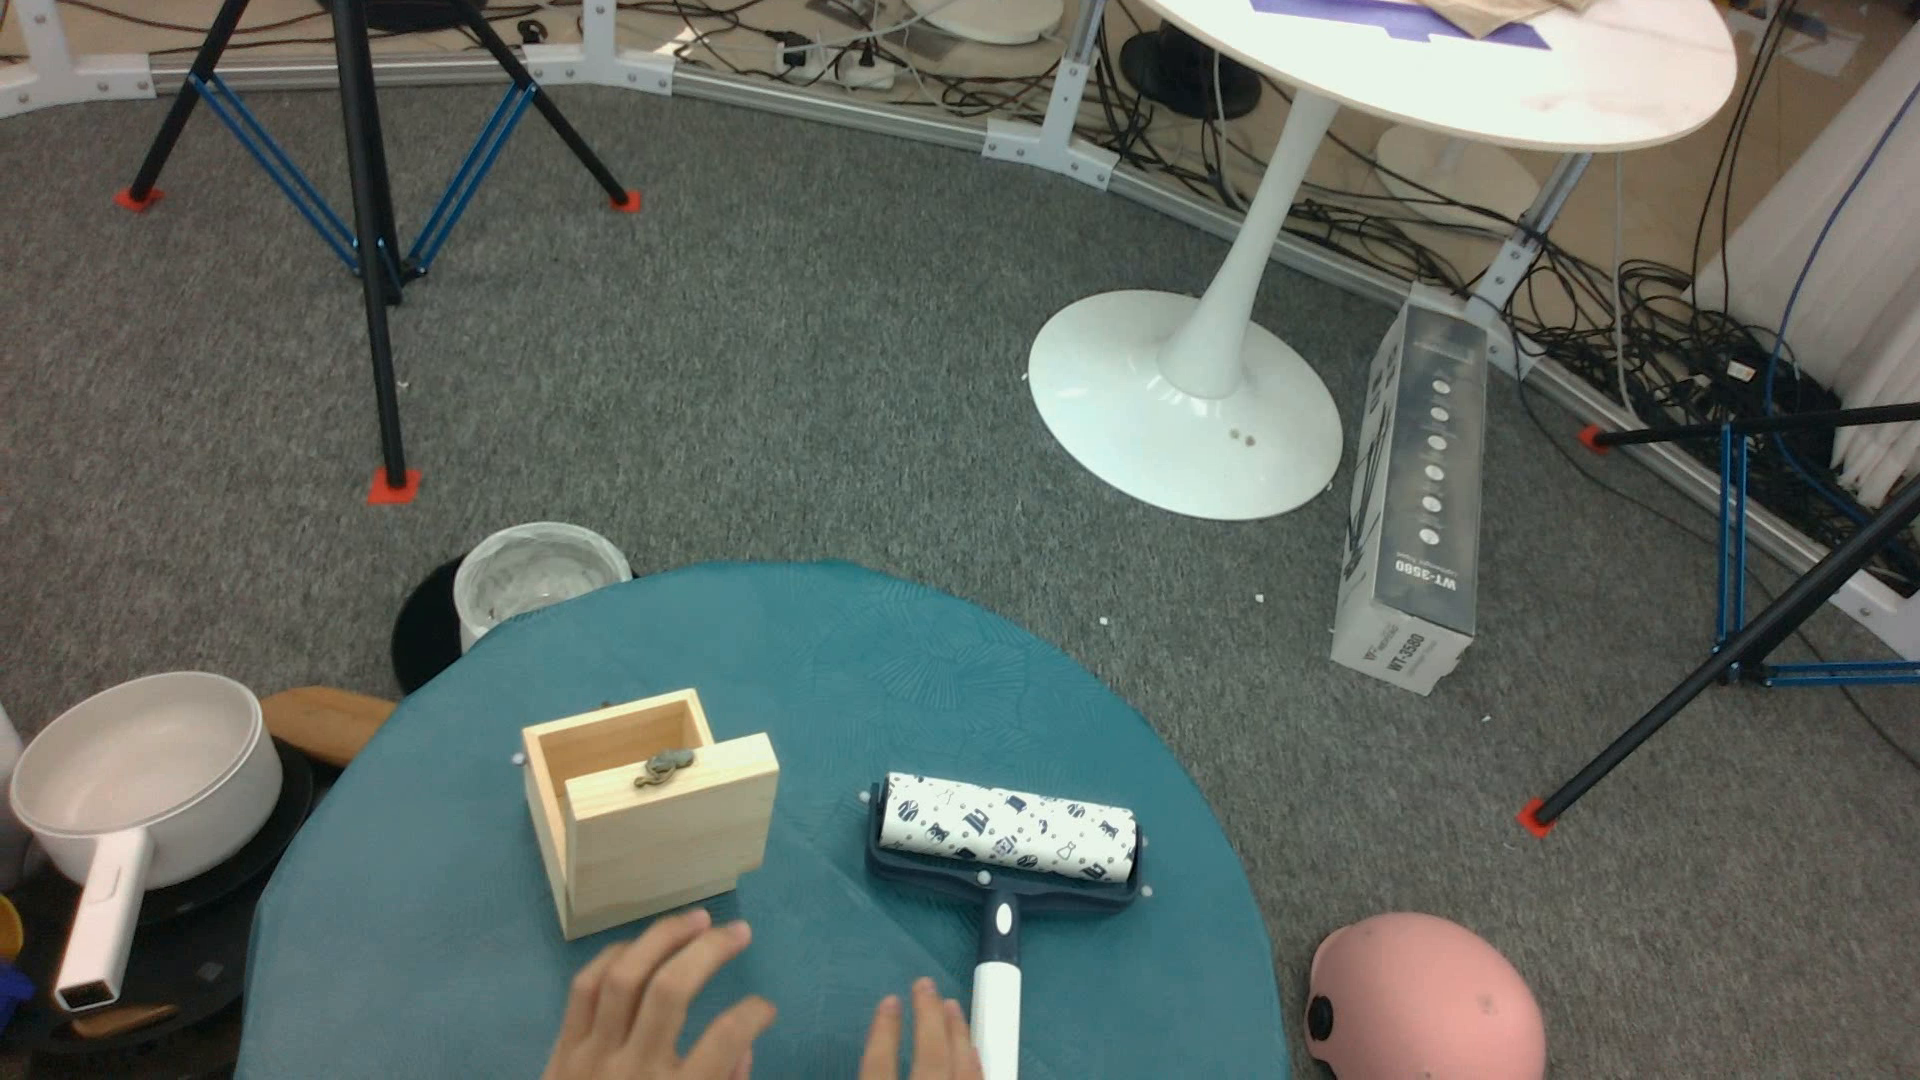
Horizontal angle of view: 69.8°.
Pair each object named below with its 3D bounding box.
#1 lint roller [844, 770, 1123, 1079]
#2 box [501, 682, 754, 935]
[{"bbox_3d":[0.012,0.258,0.807,0.176,0.050,0.248,11,49,-9],"label":"lint roller"},{"bbox_3d":[-0.190,0.131,0.763,0.103,0.183,0.134,-13,56,-24],"label":"box"}]
